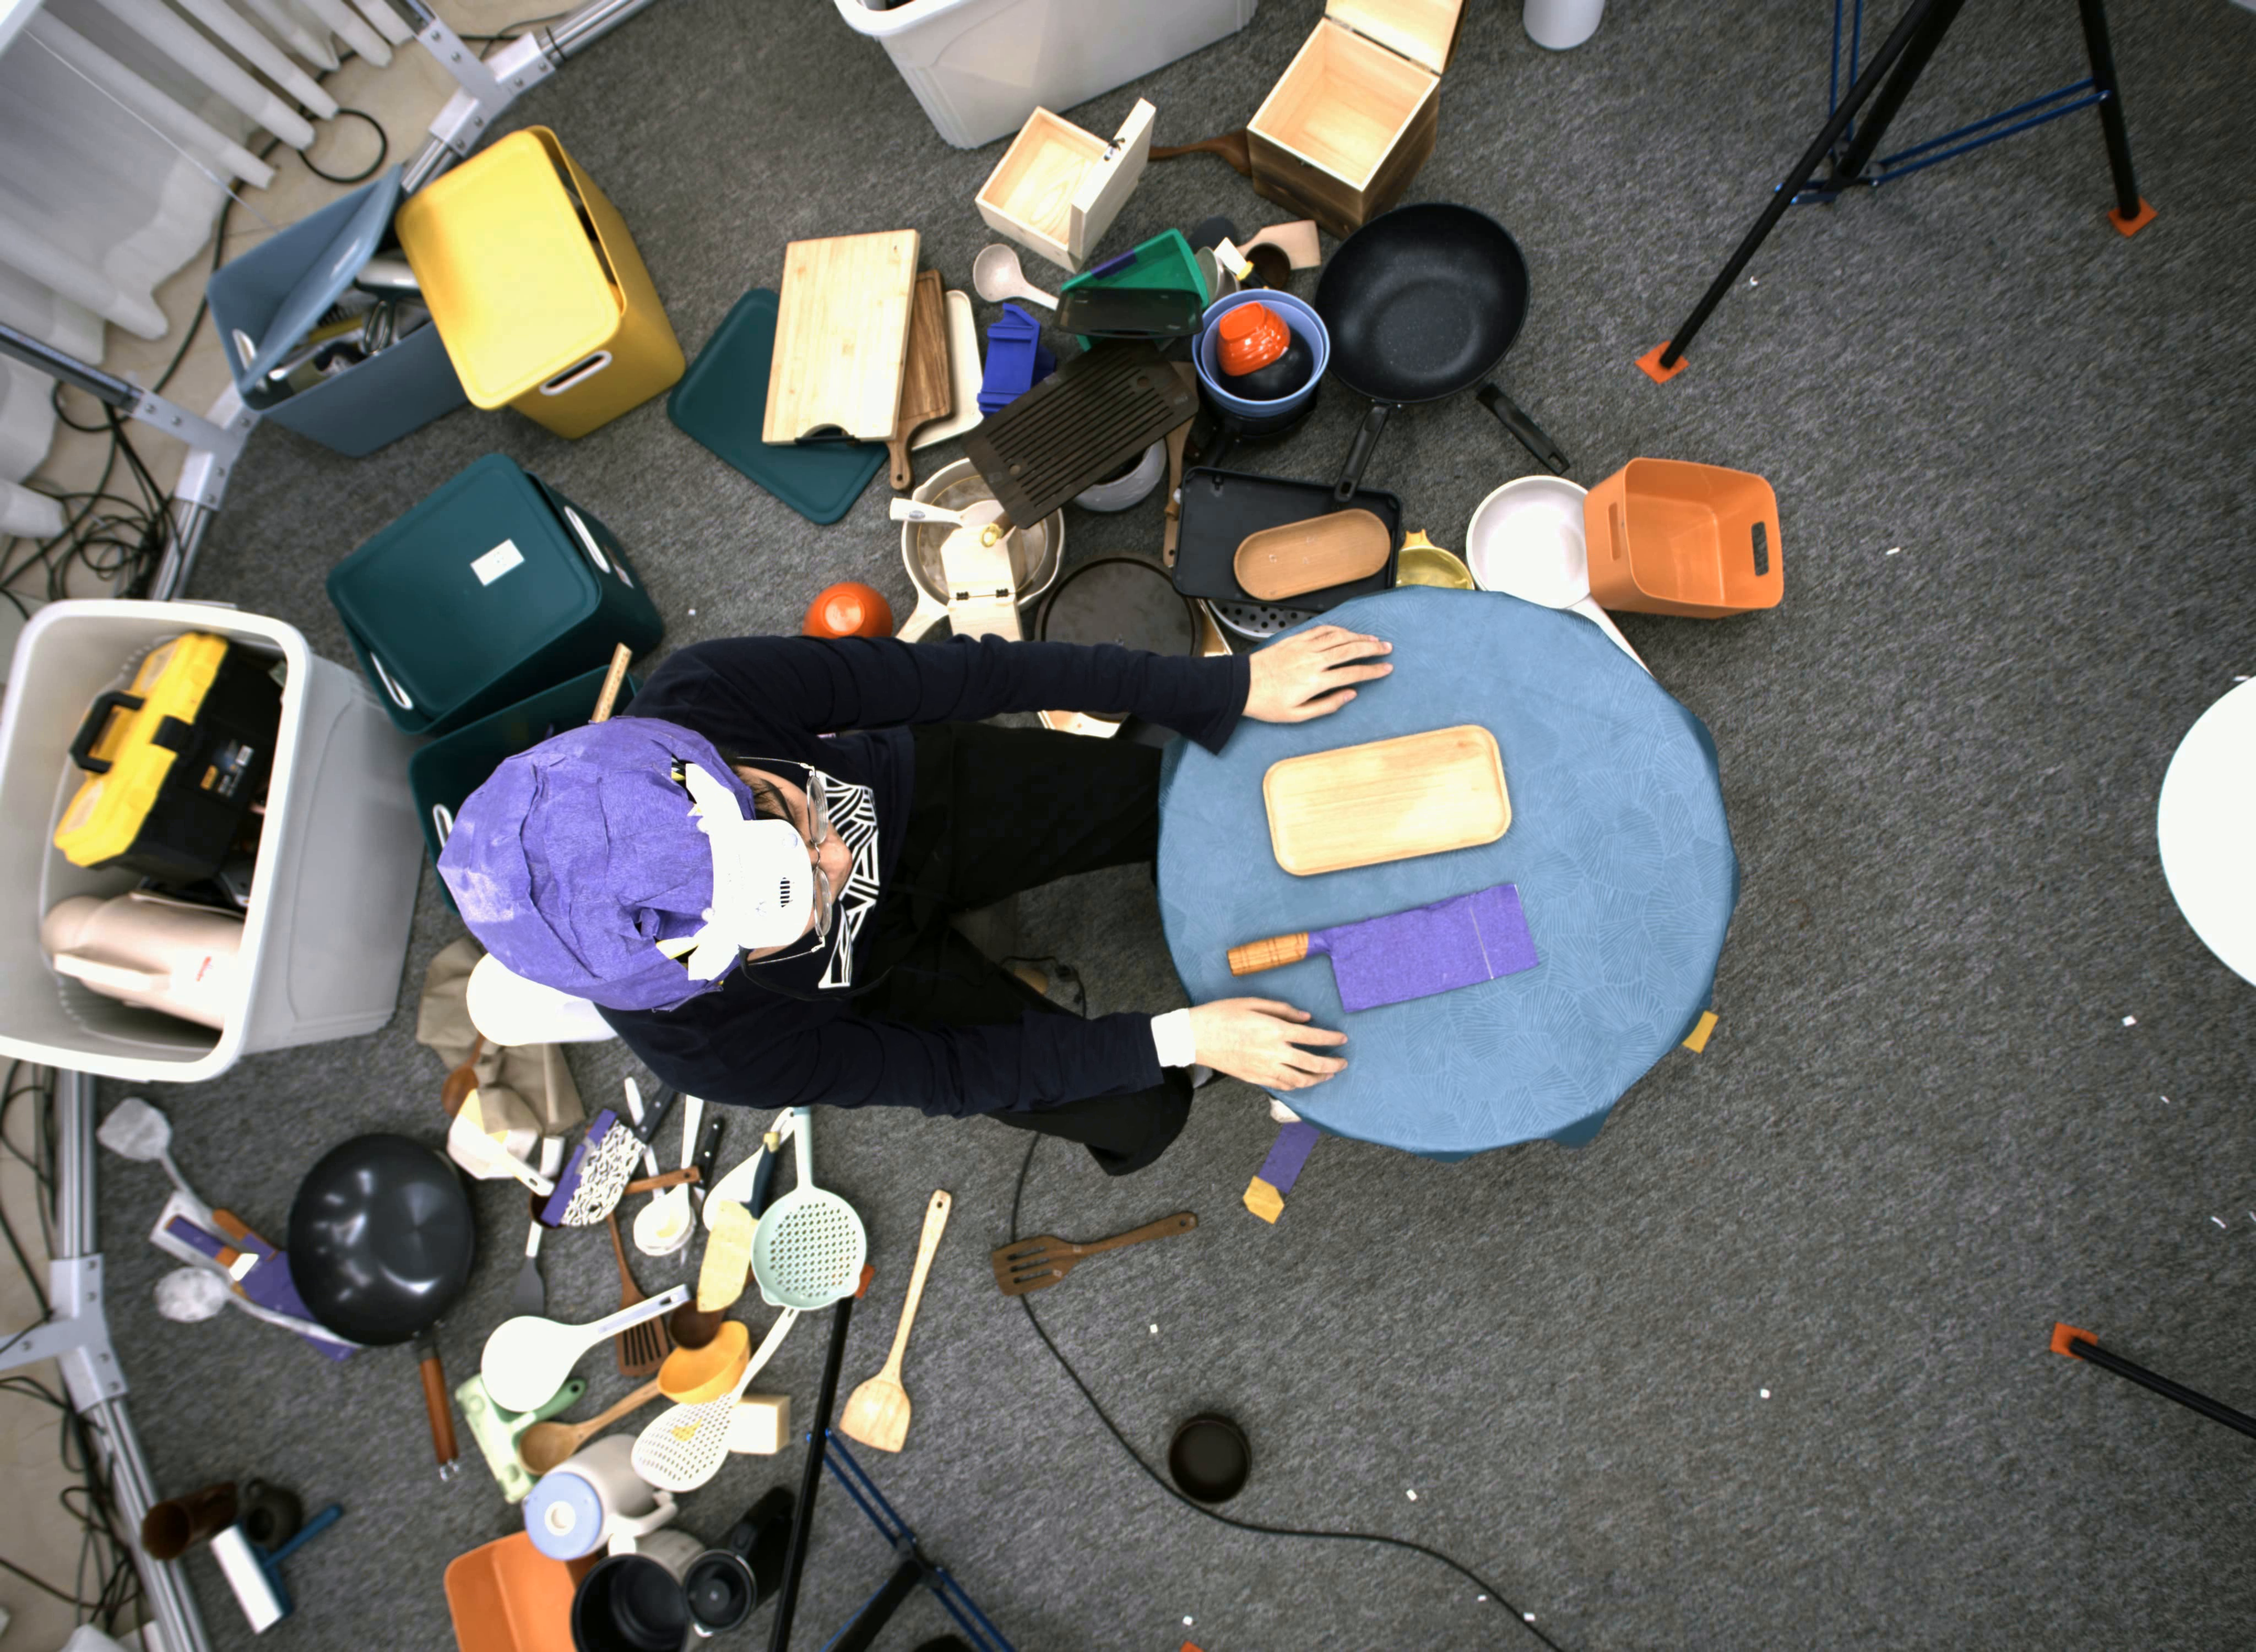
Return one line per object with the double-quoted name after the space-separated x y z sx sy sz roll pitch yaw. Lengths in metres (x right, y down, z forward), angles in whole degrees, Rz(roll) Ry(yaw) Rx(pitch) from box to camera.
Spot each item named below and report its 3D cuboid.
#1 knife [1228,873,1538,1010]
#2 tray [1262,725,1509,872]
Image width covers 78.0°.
0.266 0.136 1.444 0.317 0.032 0.103 -16 84 9 "knife"
0.271 -0.030 1.457 0.252 0.023 0.129 -8 83 11 "tray"
